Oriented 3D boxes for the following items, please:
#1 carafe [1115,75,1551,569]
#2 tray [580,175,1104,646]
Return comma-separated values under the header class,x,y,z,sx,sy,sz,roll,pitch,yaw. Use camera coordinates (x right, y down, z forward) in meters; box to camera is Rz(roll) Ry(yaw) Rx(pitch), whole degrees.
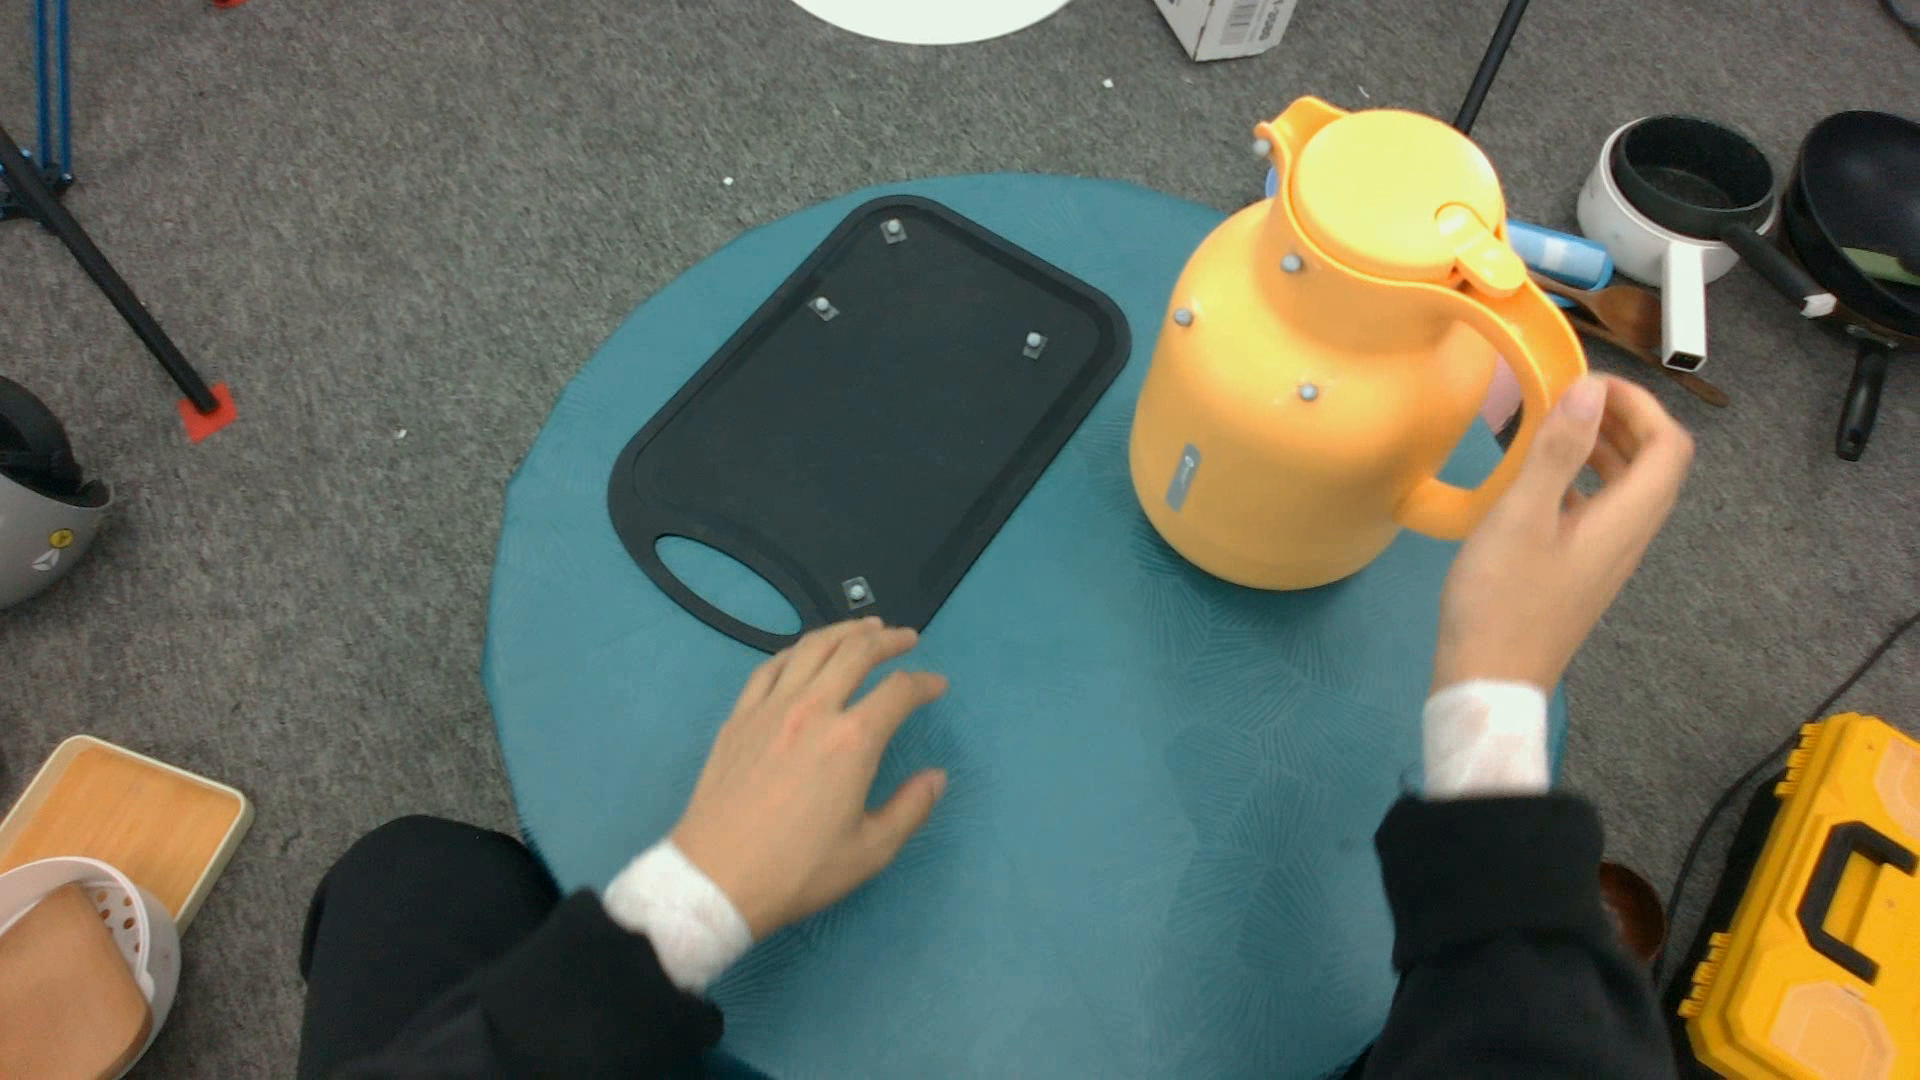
class,x,y,z,sx,sy,sz,roll,pitch,yaw
carafe,0.181,-0.090,0.691,0.164,0.259,0.202,-33,67,-17
tray,-0.067,-0.086,0.816,0.211,0.010,0.327,31,64,13
